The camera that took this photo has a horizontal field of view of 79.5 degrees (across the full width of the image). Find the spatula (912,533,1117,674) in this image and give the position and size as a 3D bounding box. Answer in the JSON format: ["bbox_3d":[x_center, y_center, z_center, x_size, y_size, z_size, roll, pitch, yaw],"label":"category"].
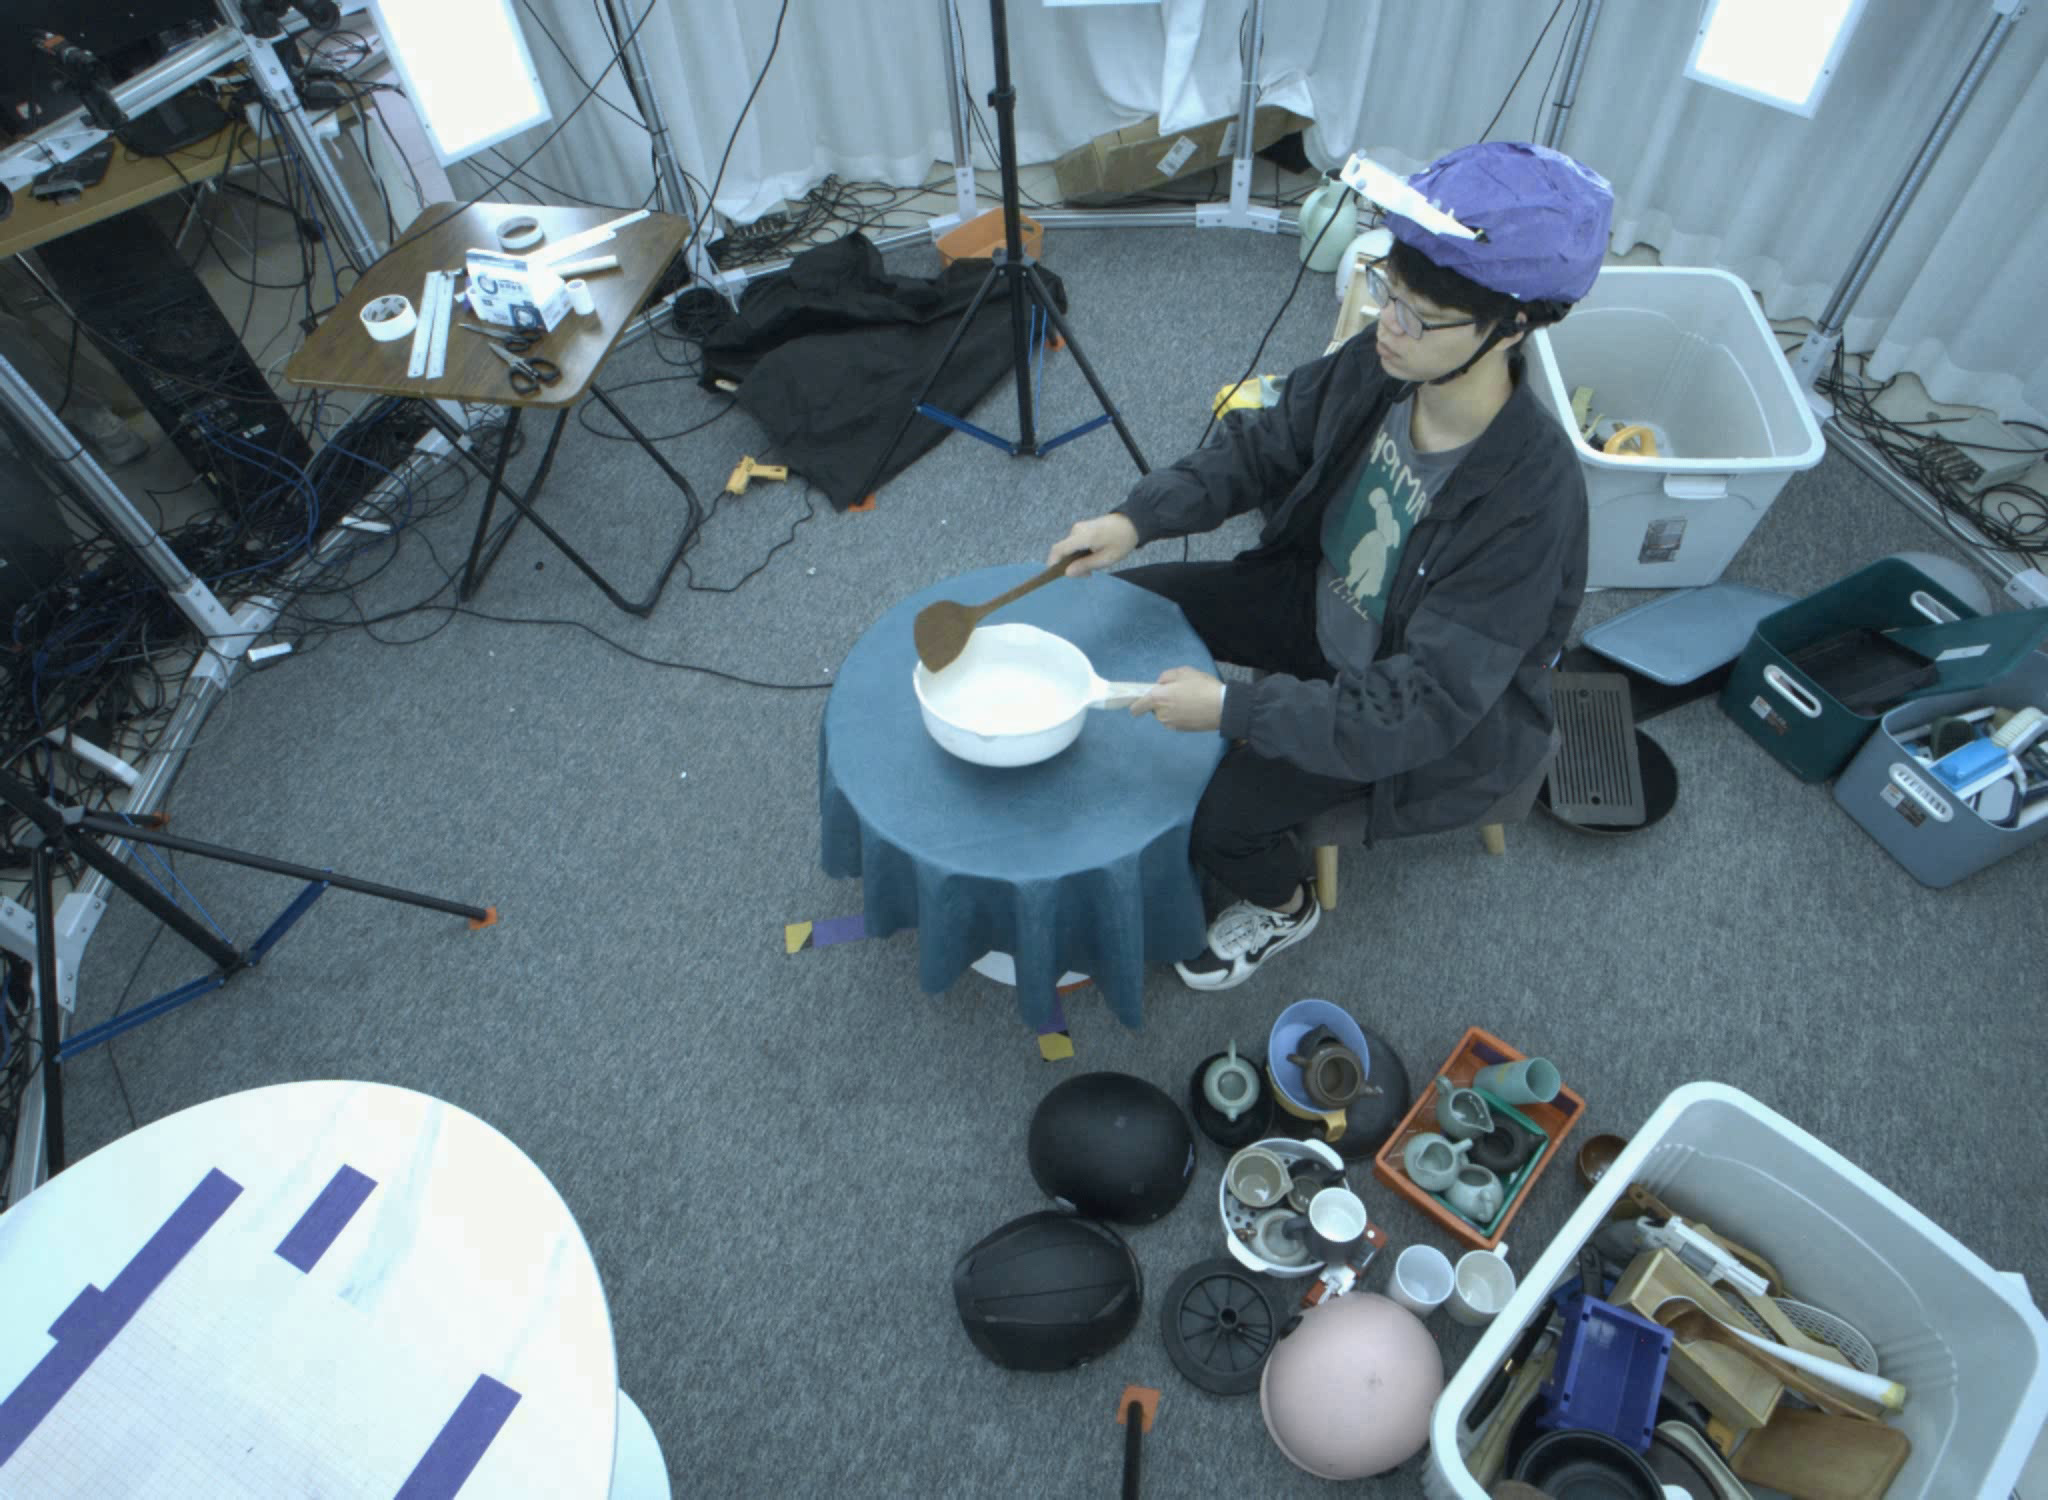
[{"bbox_3d":[-0.004,-0.228,1.754,0.390,0.097,0.015,-32,35,-28],"label":"spatula"}]

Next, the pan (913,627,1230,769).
[{"bbox_3d":[0.063,-0.063,1.707,0.433,0.103,0.262,7,39,6],"label":"pan"}]
